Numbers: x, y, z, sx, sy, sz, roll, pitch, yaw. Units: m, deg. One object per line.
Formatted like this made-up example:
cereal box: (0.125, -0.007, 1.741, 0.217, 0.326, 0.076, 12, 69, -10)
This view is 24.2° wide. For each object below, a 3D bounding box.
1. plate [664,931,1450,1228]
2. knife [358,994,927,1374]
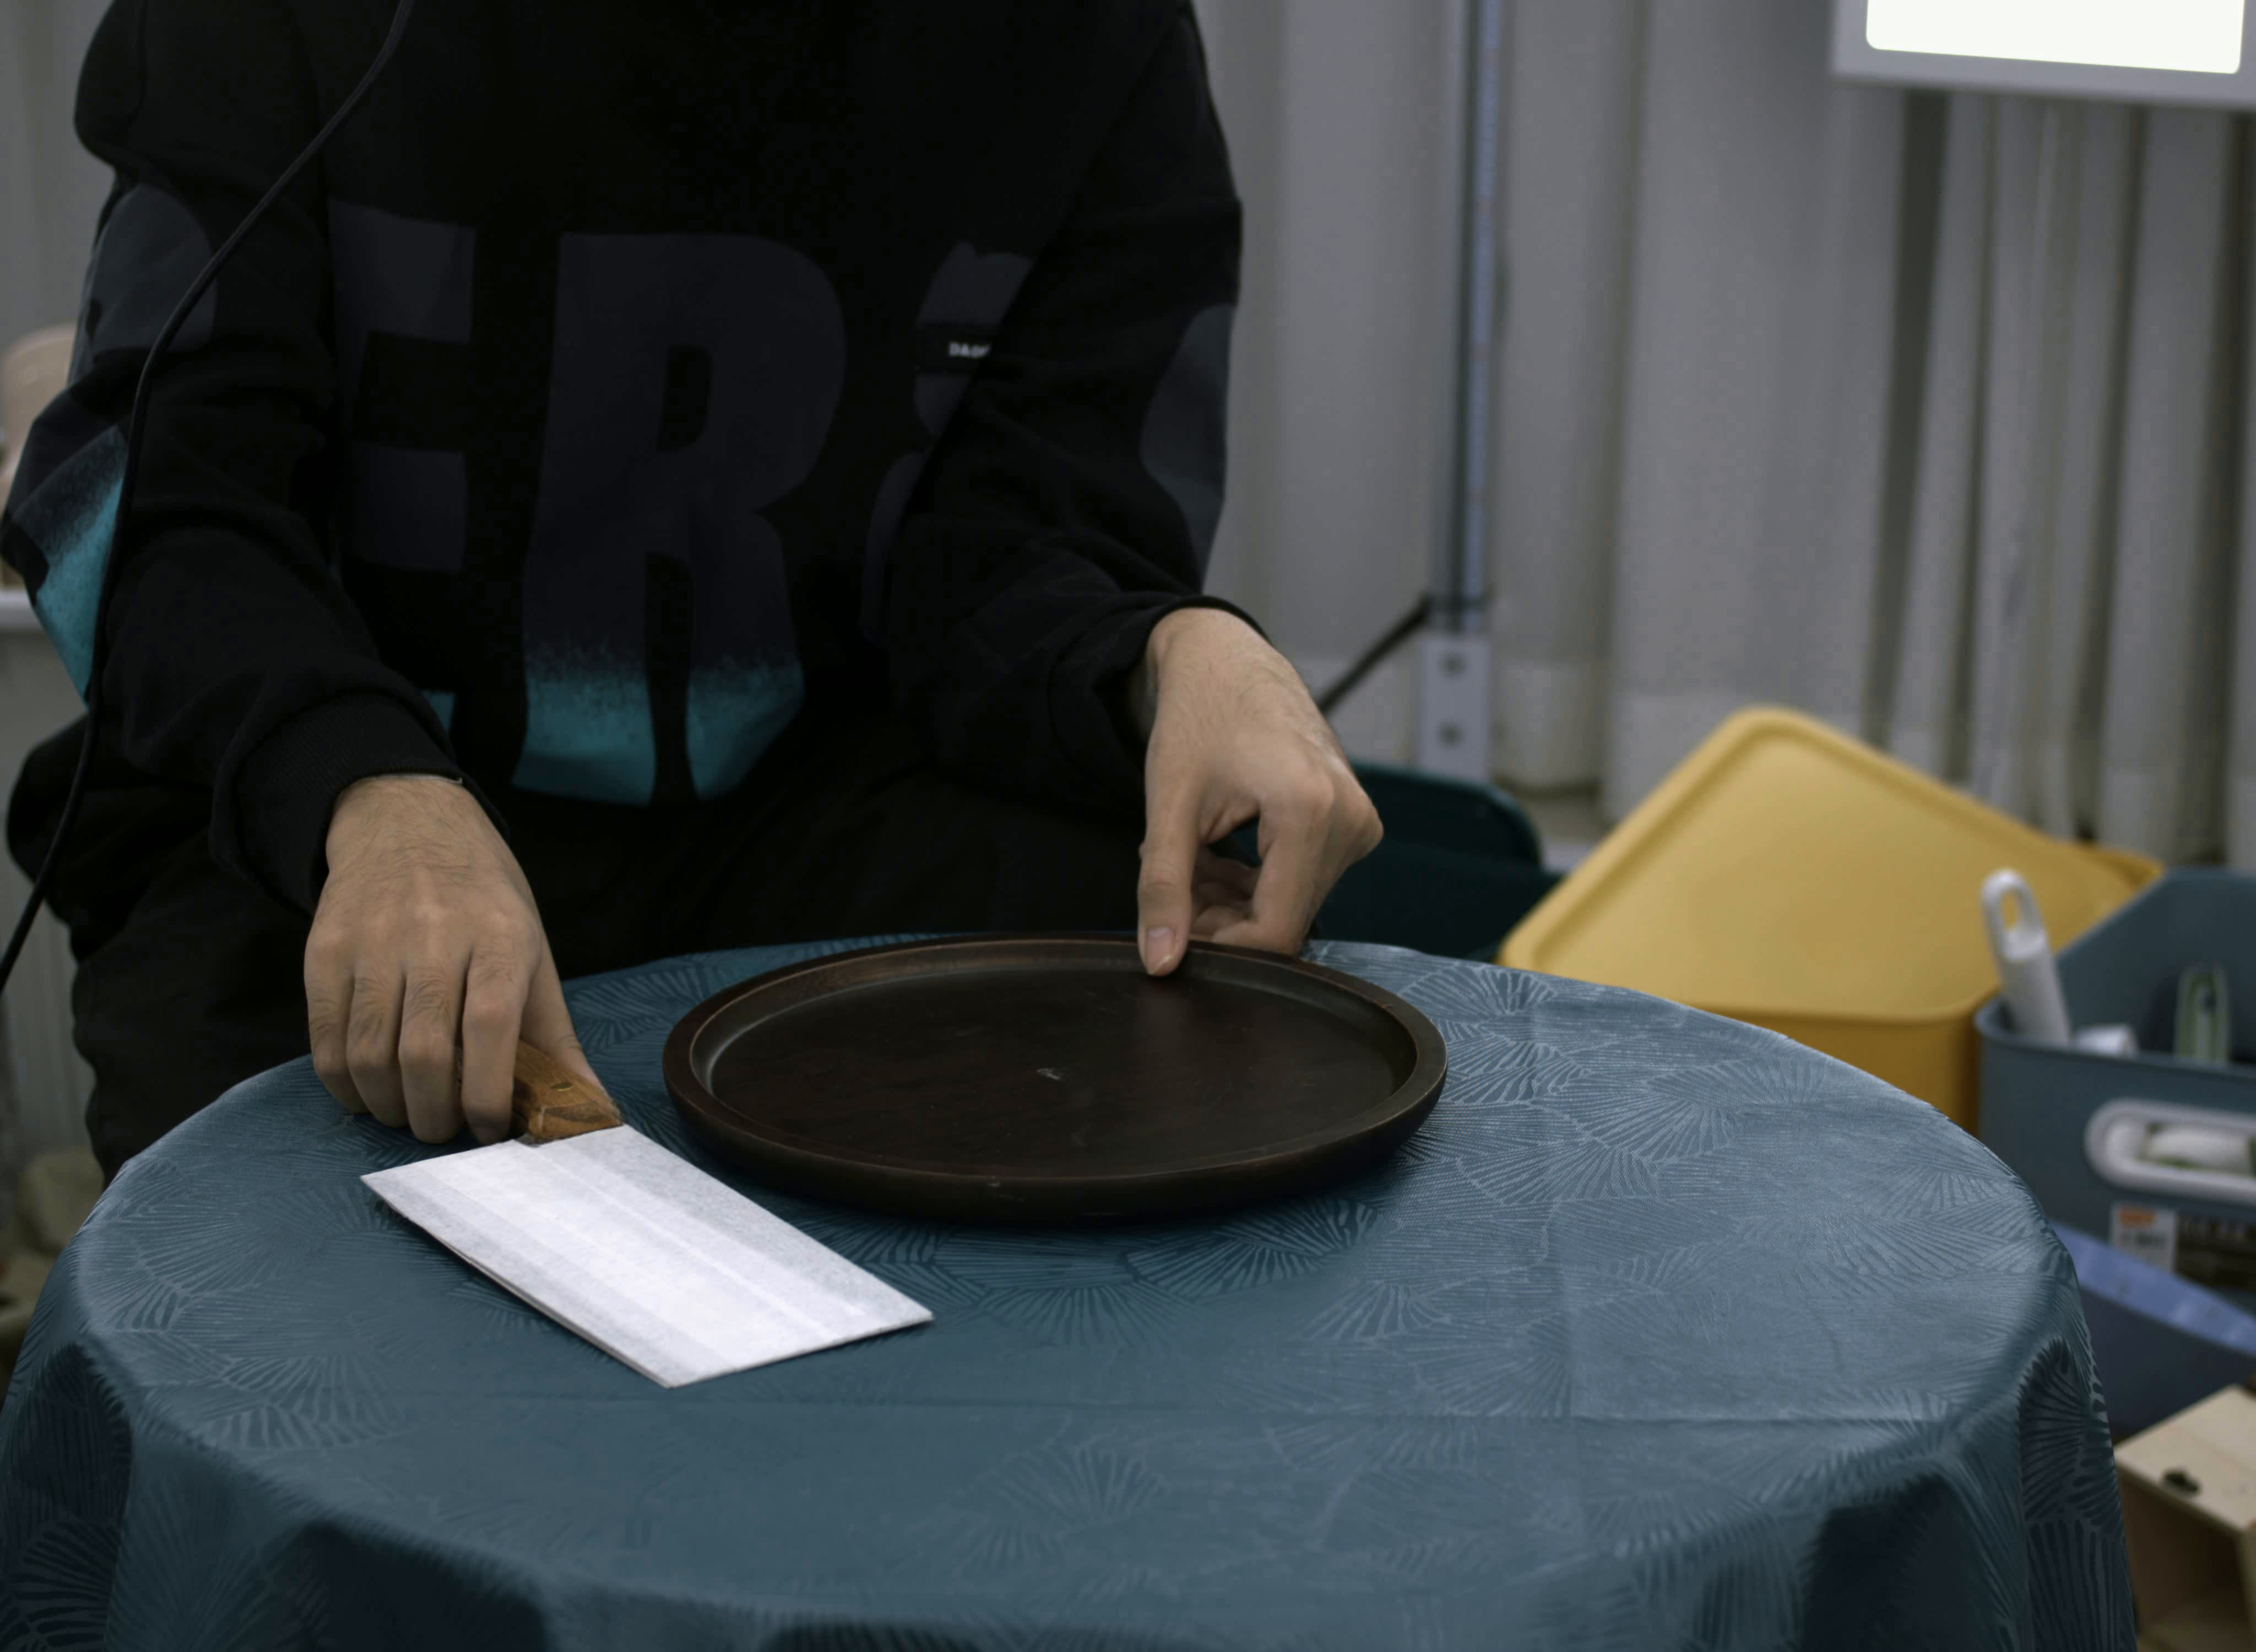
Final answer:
plate: (-0.023, 0.079, 1.693, 0.254, 0.029, 0.253, 2, 15, 0)
knife: (-0.176, 0.109, 1.602, 0.093, 0.021, 0.301, -12, 22, -33)
